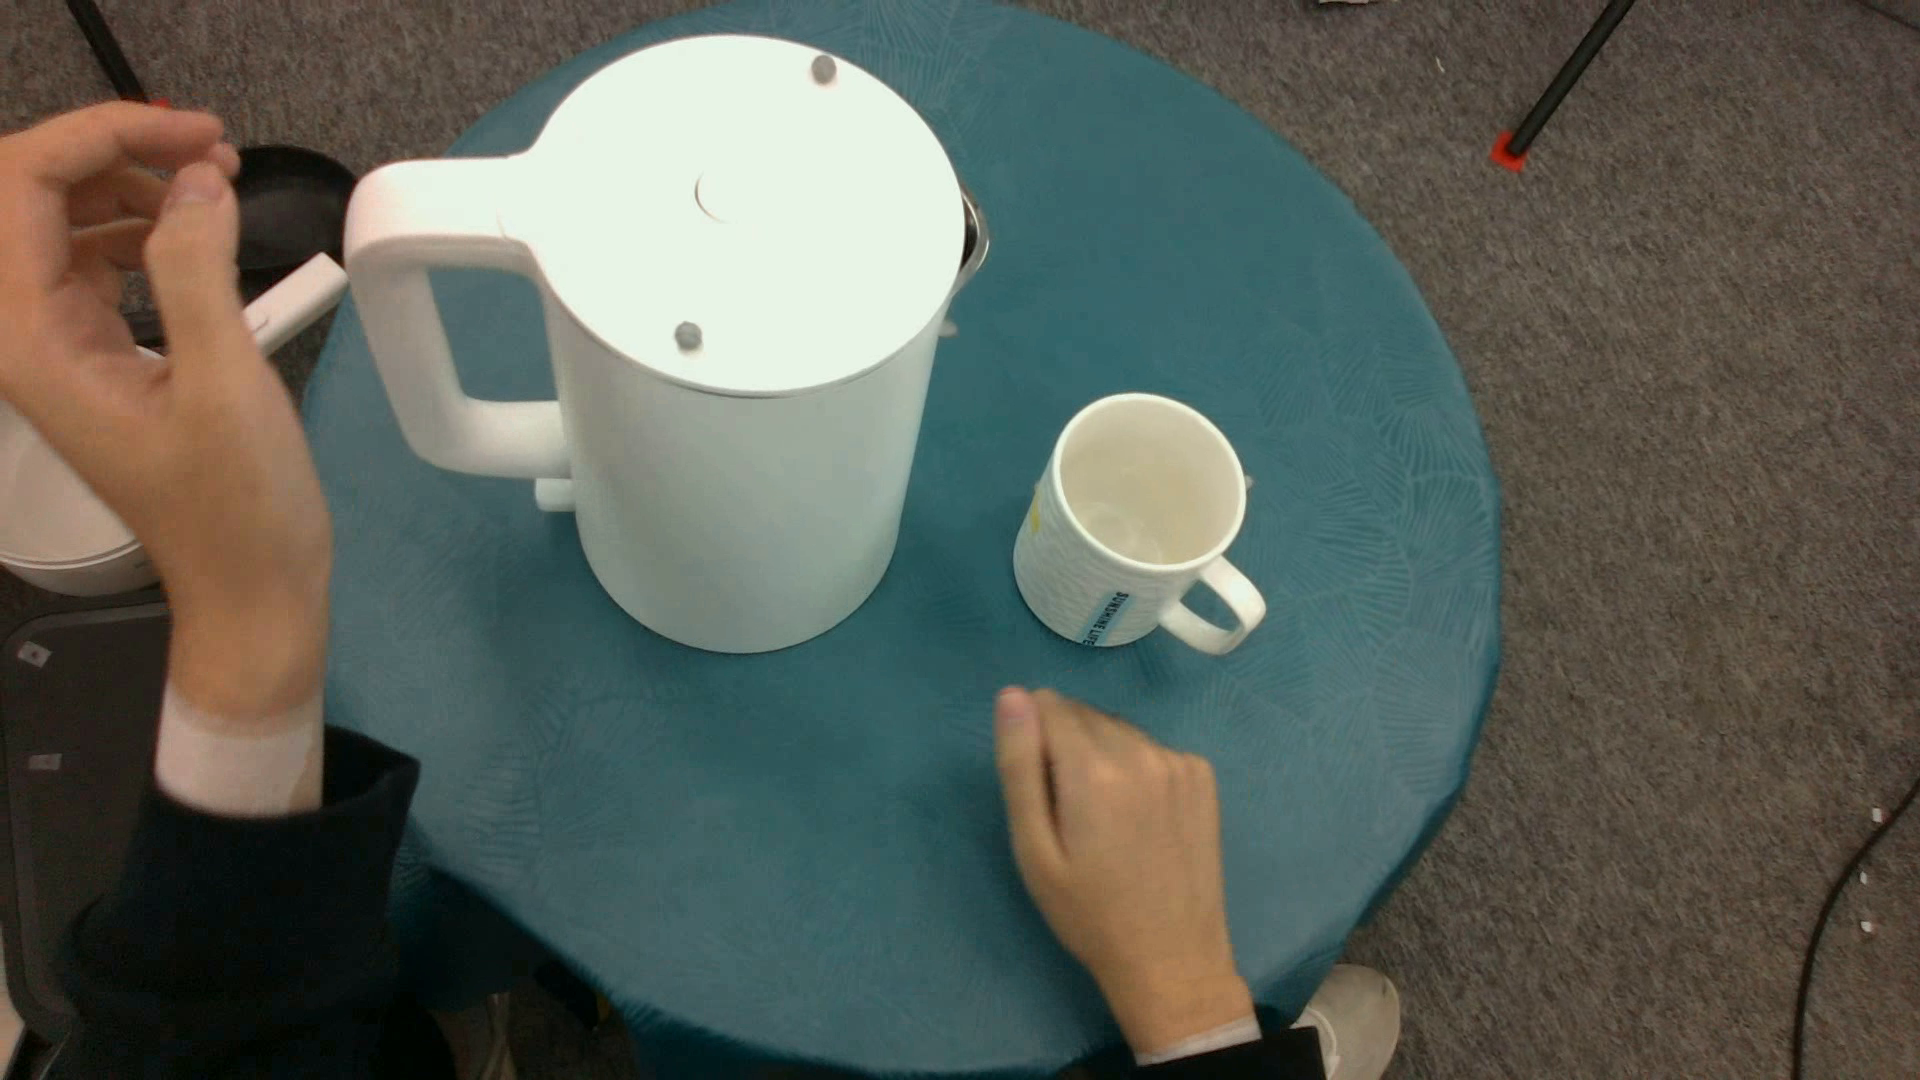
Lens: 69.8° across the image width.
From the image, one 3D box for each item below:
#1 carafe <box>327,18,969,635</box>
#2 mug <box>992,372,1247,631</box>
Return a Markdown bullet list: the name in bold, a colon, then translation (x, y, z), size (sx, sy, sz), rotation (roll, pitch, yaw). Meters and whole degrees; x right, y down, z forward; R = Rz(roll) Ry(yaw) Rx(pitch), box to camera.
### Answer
- **carafe**: translation (-0.121, -0.073, 0.552), size (0.213, 0.239, 0.152), rotation (0, 65, -12)
- **mug**: translation (0.076, -0.005, 0.631), size (0.118, 0.101, 0.085), rotation (43, 65, 9)
